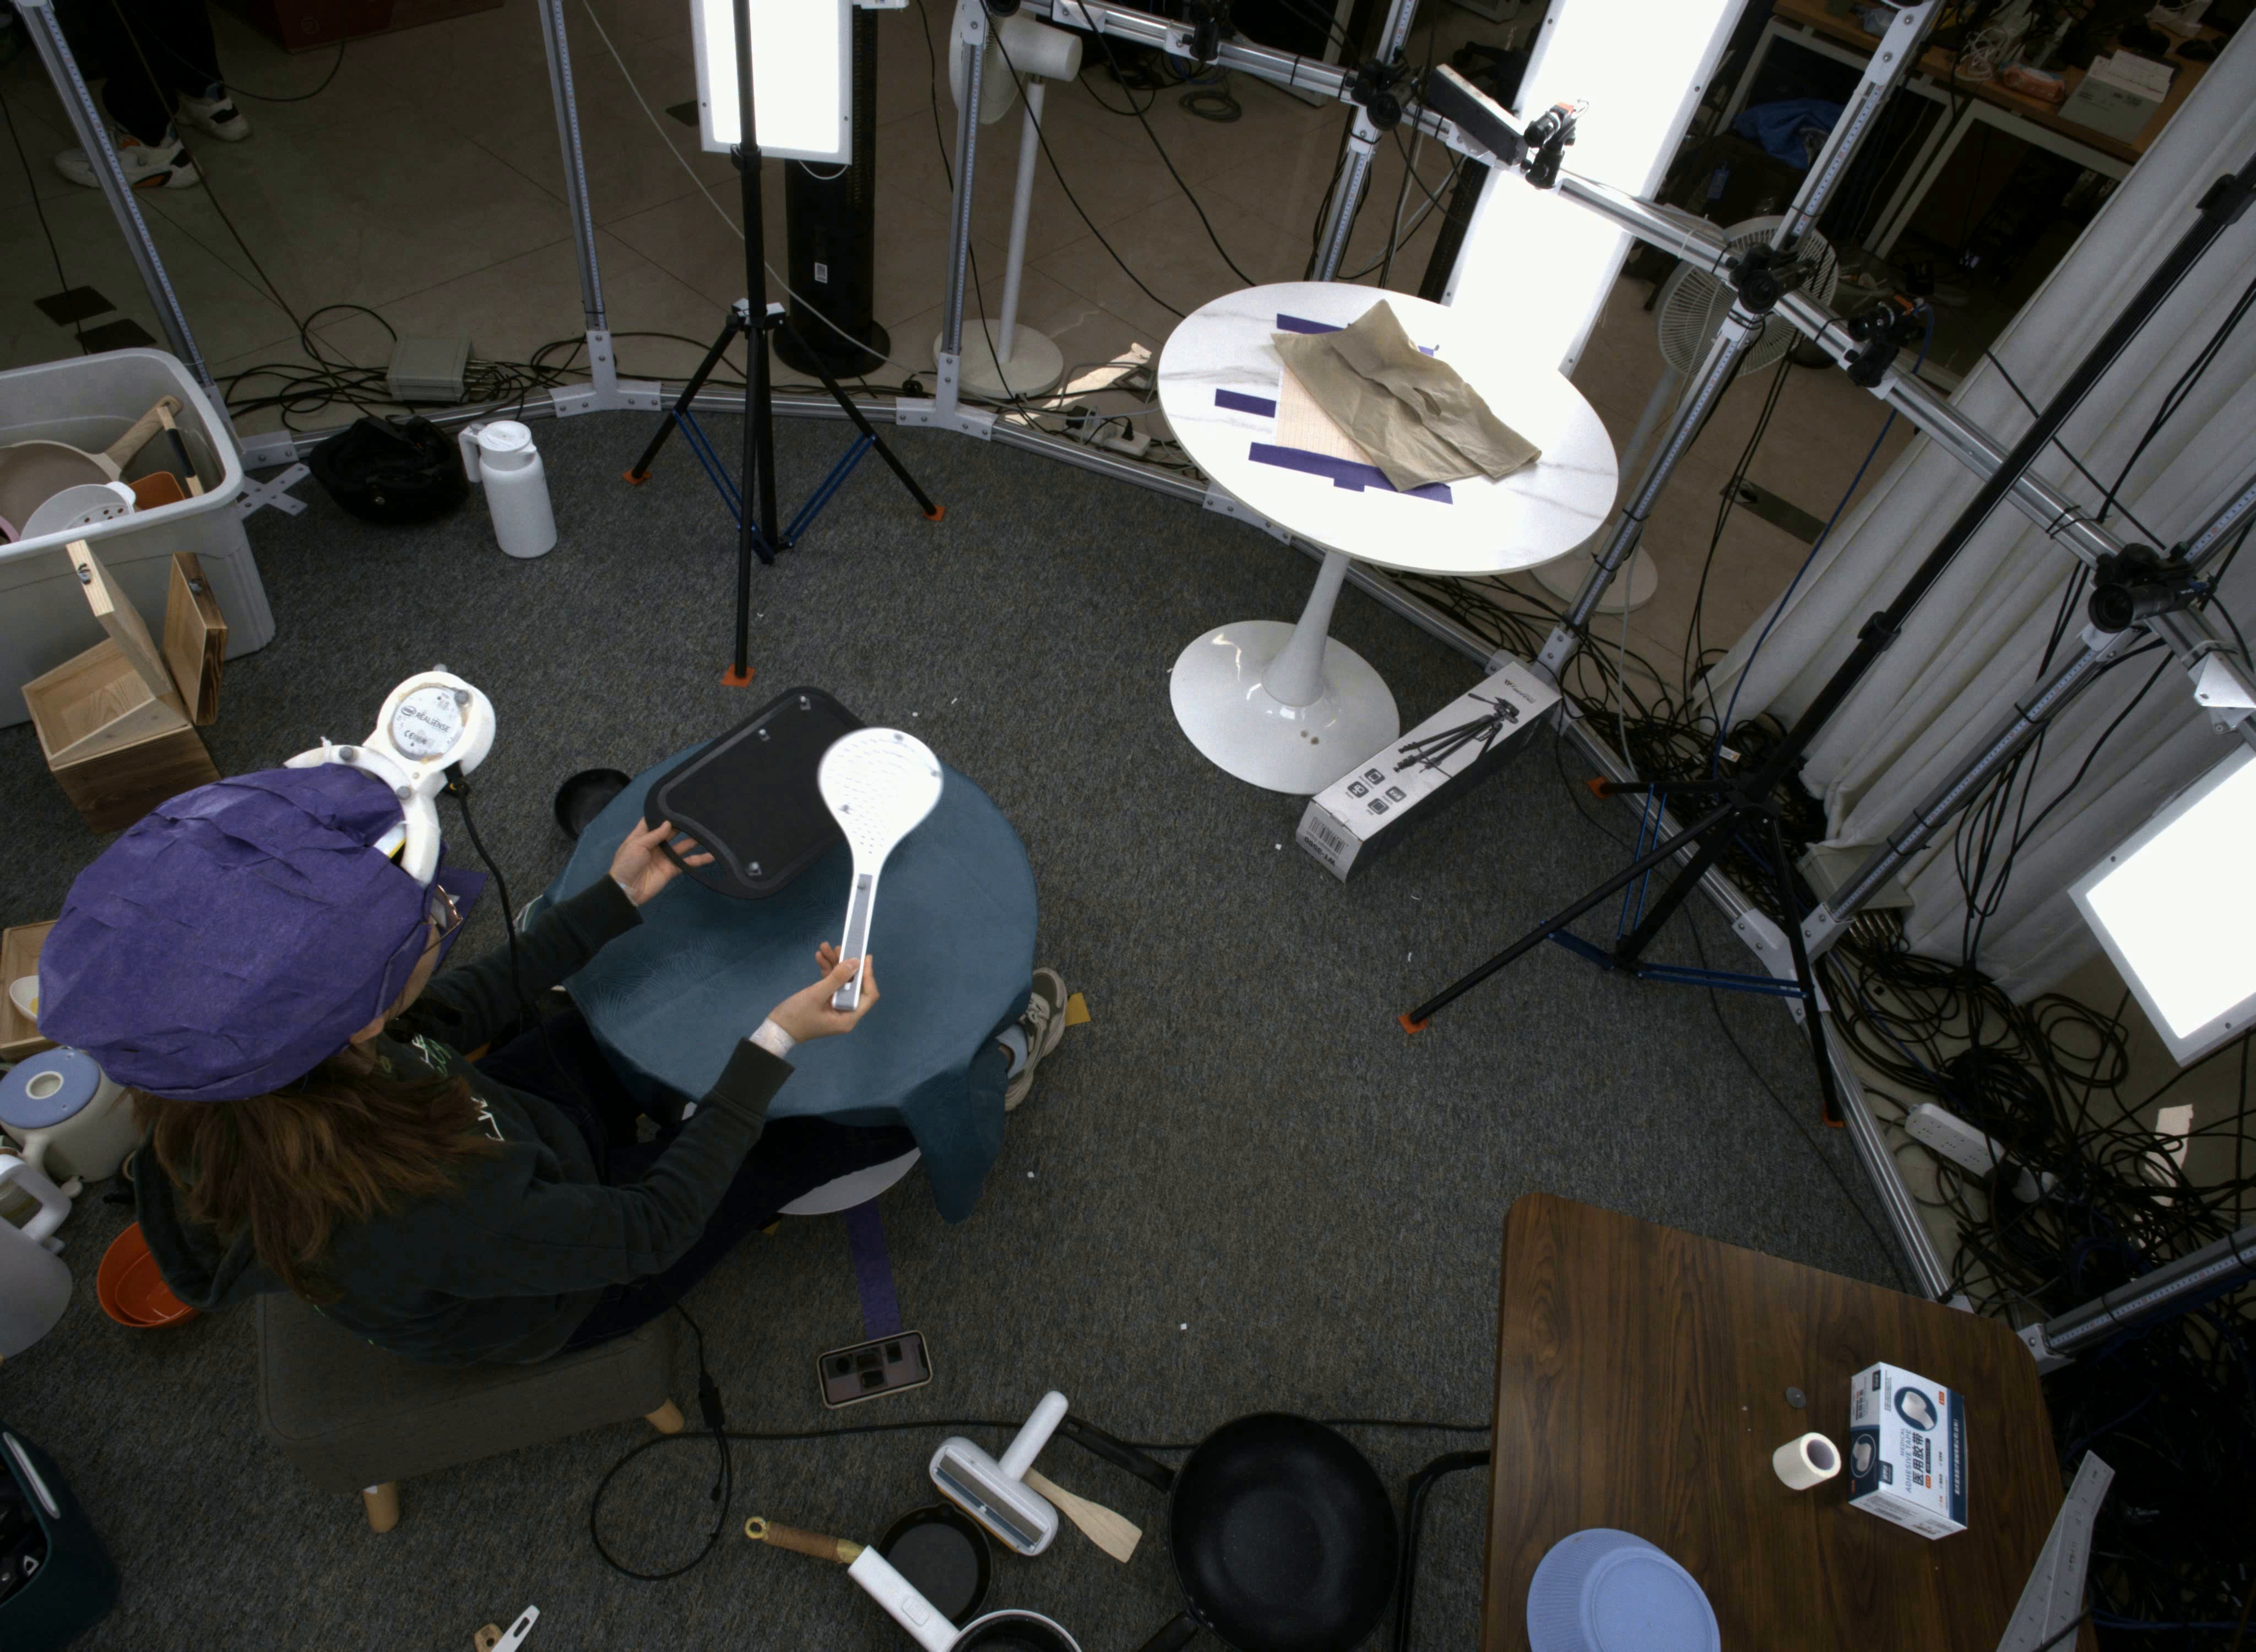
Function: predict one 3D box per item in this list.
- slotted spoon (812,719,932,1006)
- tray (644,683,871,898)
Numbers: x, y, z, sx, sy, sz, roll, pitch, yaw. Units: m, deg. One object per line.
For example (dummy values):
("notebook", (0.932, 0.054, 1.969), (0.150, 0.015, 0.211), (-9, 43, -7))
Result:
("slotted spoon", (-0.292, 0.033, 1.428), (0.136, 0.046, 0.344), (6, 56, -9))
("tray", (-0.440, -0.048, 1.617), (0.209, 0.010, 0.325), (41, 53, 5))
